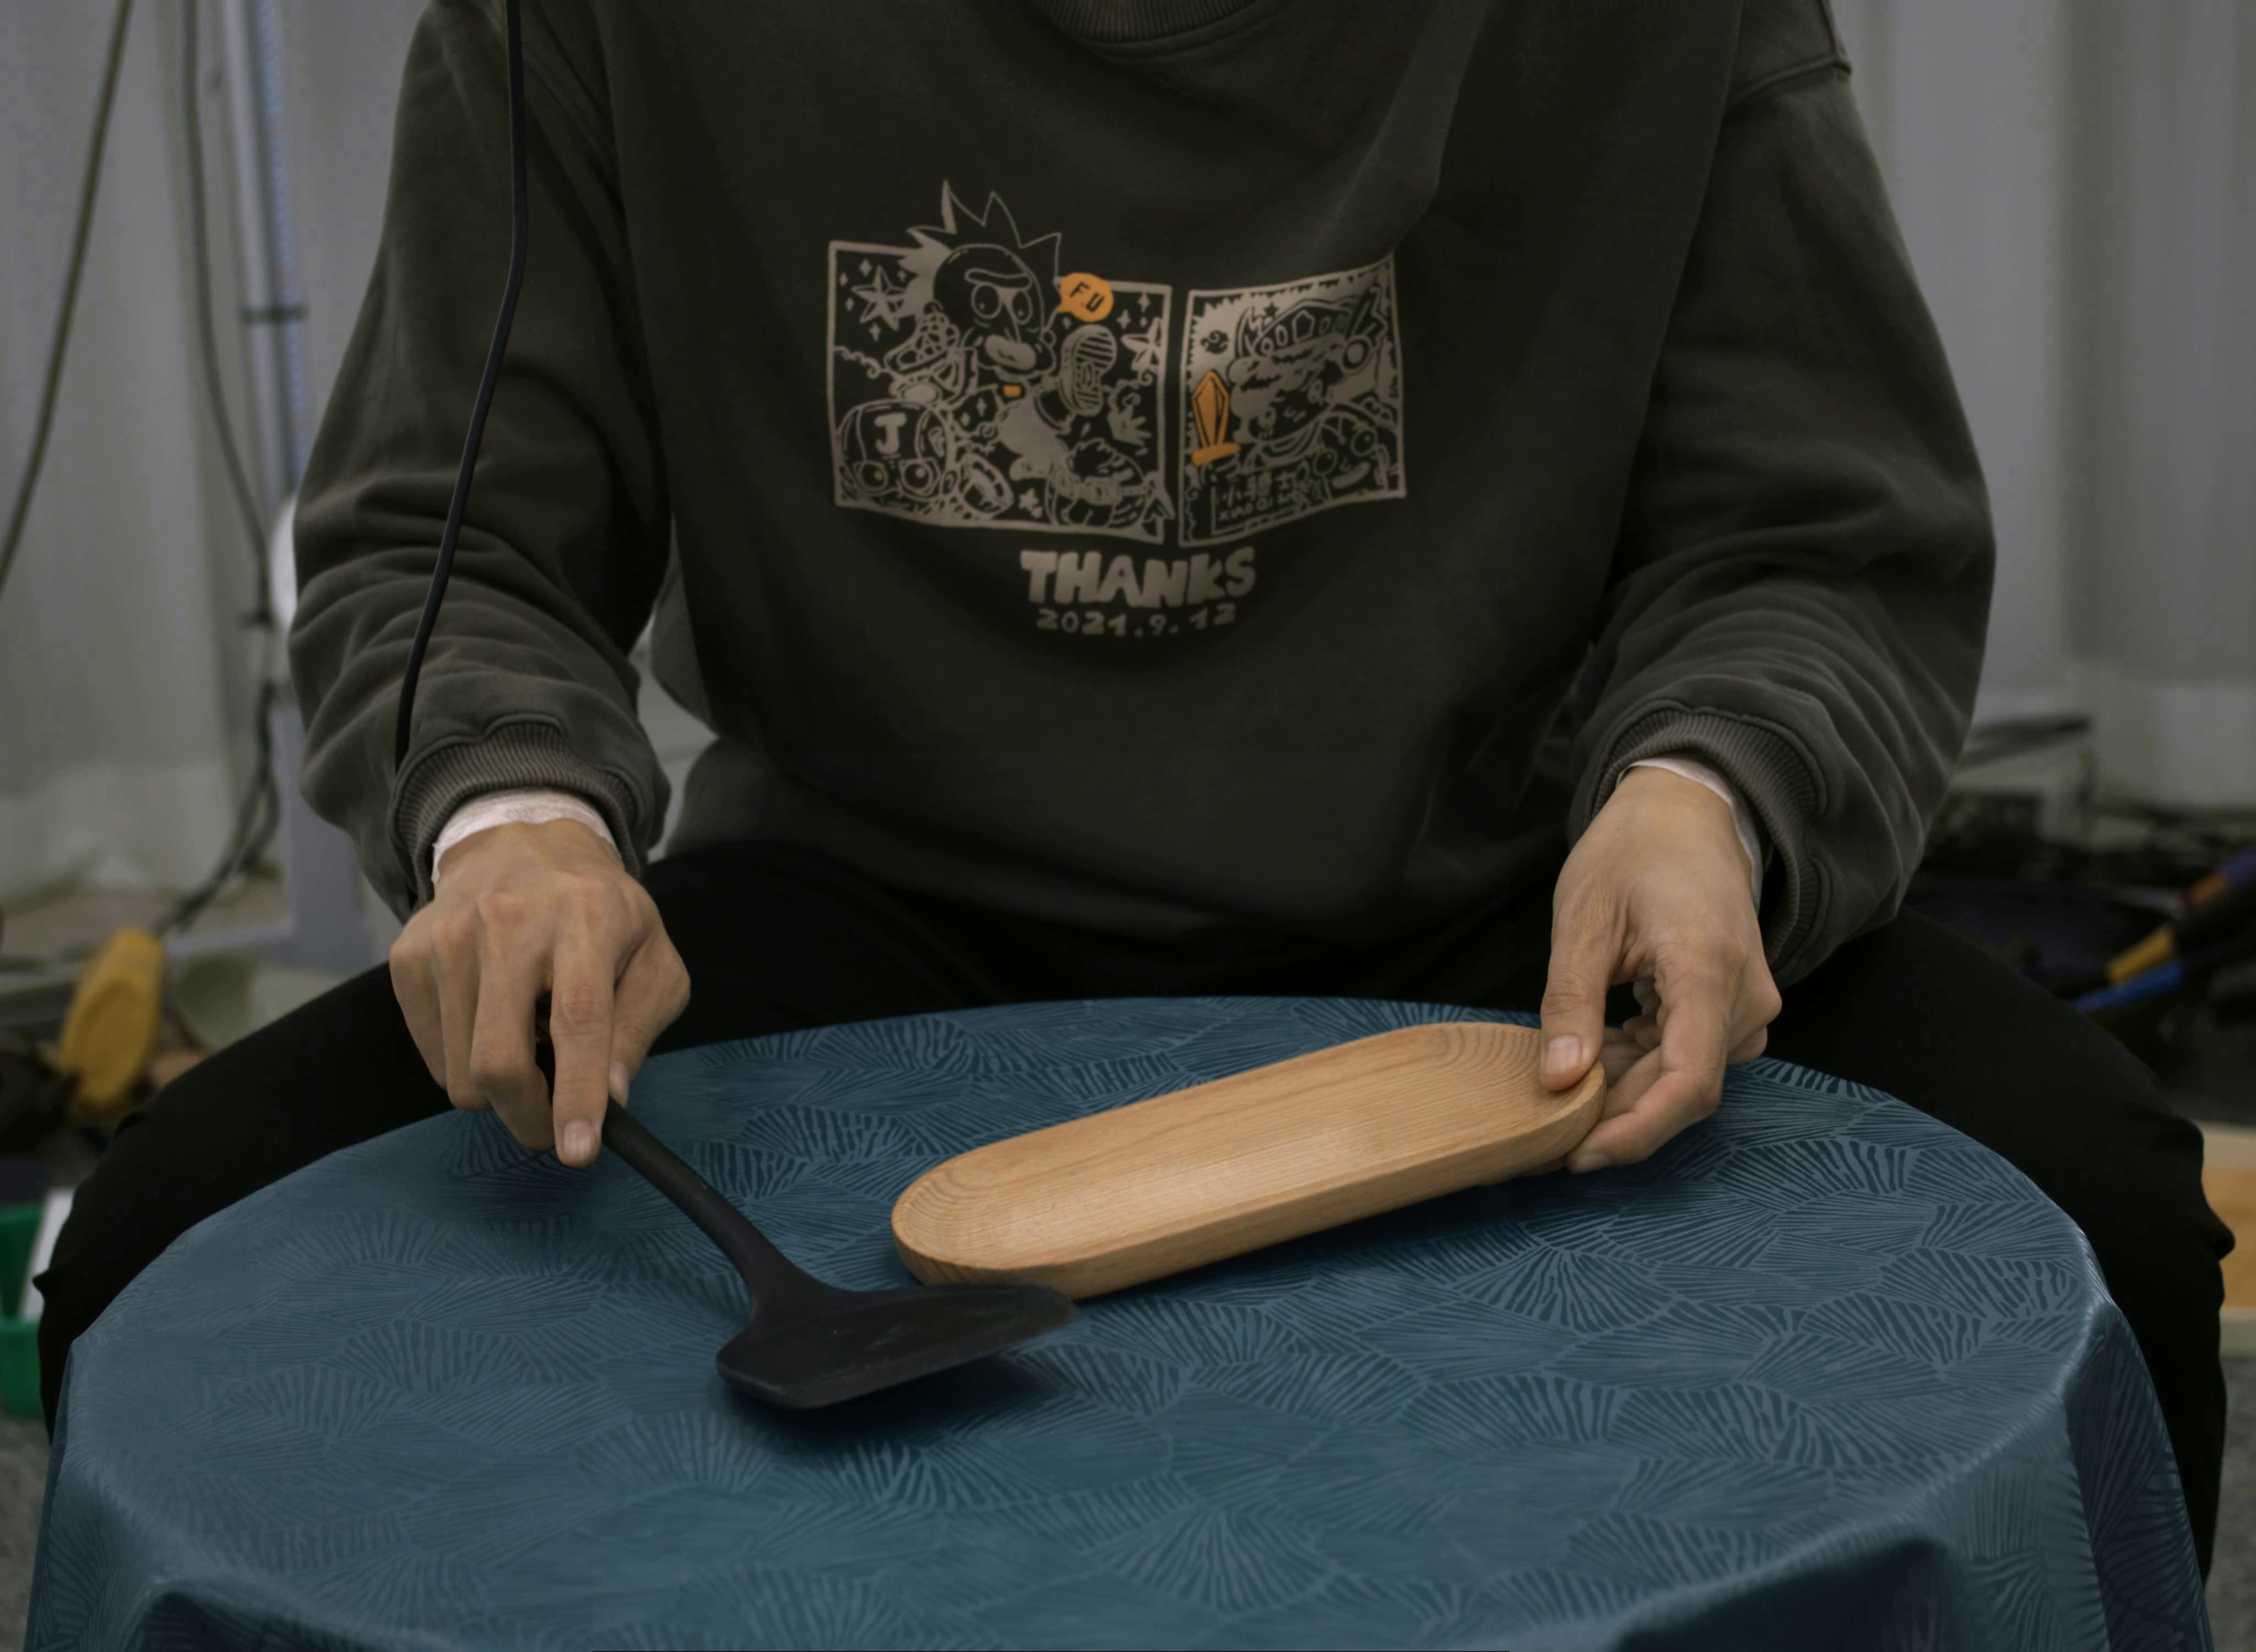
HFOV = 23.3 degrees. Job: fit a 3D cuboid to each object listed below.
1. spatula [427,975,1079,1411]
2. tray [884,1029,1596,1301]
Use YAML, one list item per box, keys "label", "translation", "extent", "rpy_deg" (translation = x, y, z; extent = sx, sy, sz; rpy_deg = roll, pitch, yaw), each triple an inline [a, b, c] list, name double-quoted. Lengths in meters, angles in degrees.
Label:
- label: "spatula"
  translation: [-0.137, 0.103, 1.656]
  extent: [0.099, 0.040, 0.330]
  rpy_deg: [-14, 31, -30]
- label: "tray"
  translation: [0.036, 0.105, 1.683]
  extent: [0.230, 0.020, 0.102]
  rpy_deg: [-16, 19, -18]
